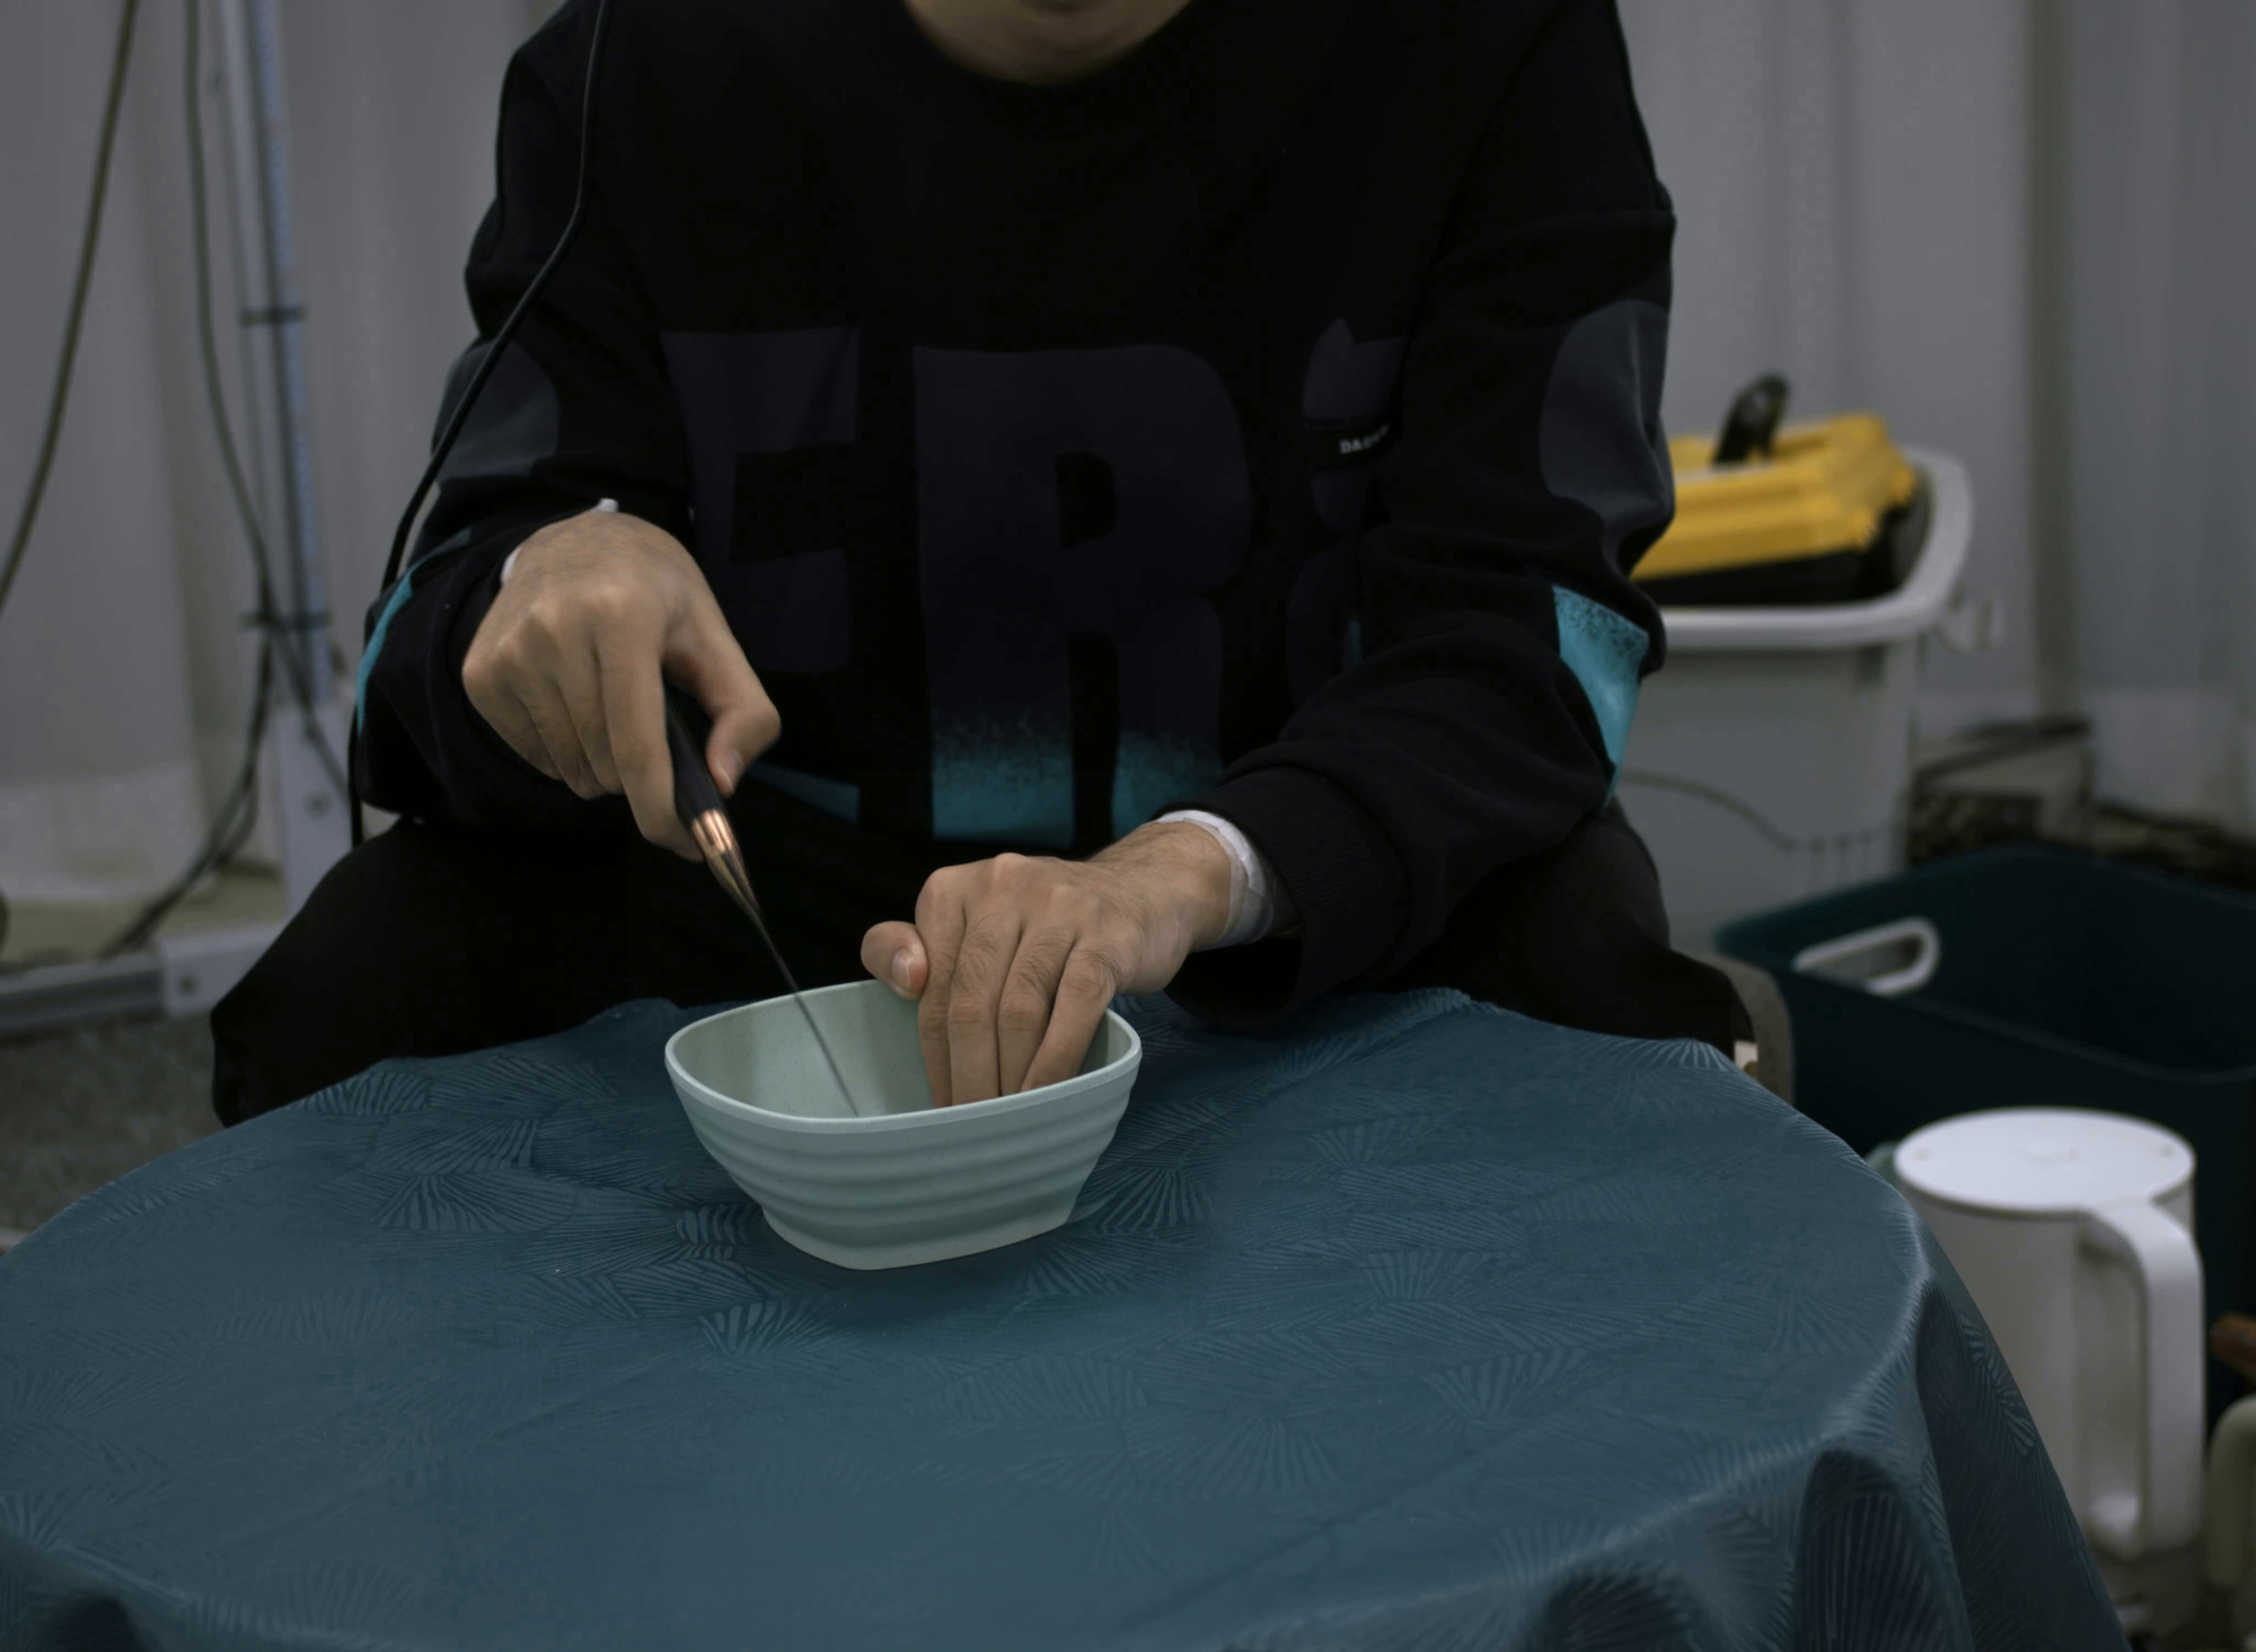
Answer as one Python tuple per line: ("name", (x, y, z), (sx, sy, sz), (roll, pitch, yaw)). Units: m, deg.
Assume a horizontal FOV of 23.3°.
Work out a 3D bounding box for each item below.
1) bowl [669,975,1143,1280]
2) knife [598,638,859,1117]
("bowl", (-0.067, 0.096, 1.694), (0.151, 0.058, 0.152), (-4, 15, 1))
("knife", (-0.123, 0.020, 1.731), (0.017, 0.026, 0.229), (-25, 51, -7))
